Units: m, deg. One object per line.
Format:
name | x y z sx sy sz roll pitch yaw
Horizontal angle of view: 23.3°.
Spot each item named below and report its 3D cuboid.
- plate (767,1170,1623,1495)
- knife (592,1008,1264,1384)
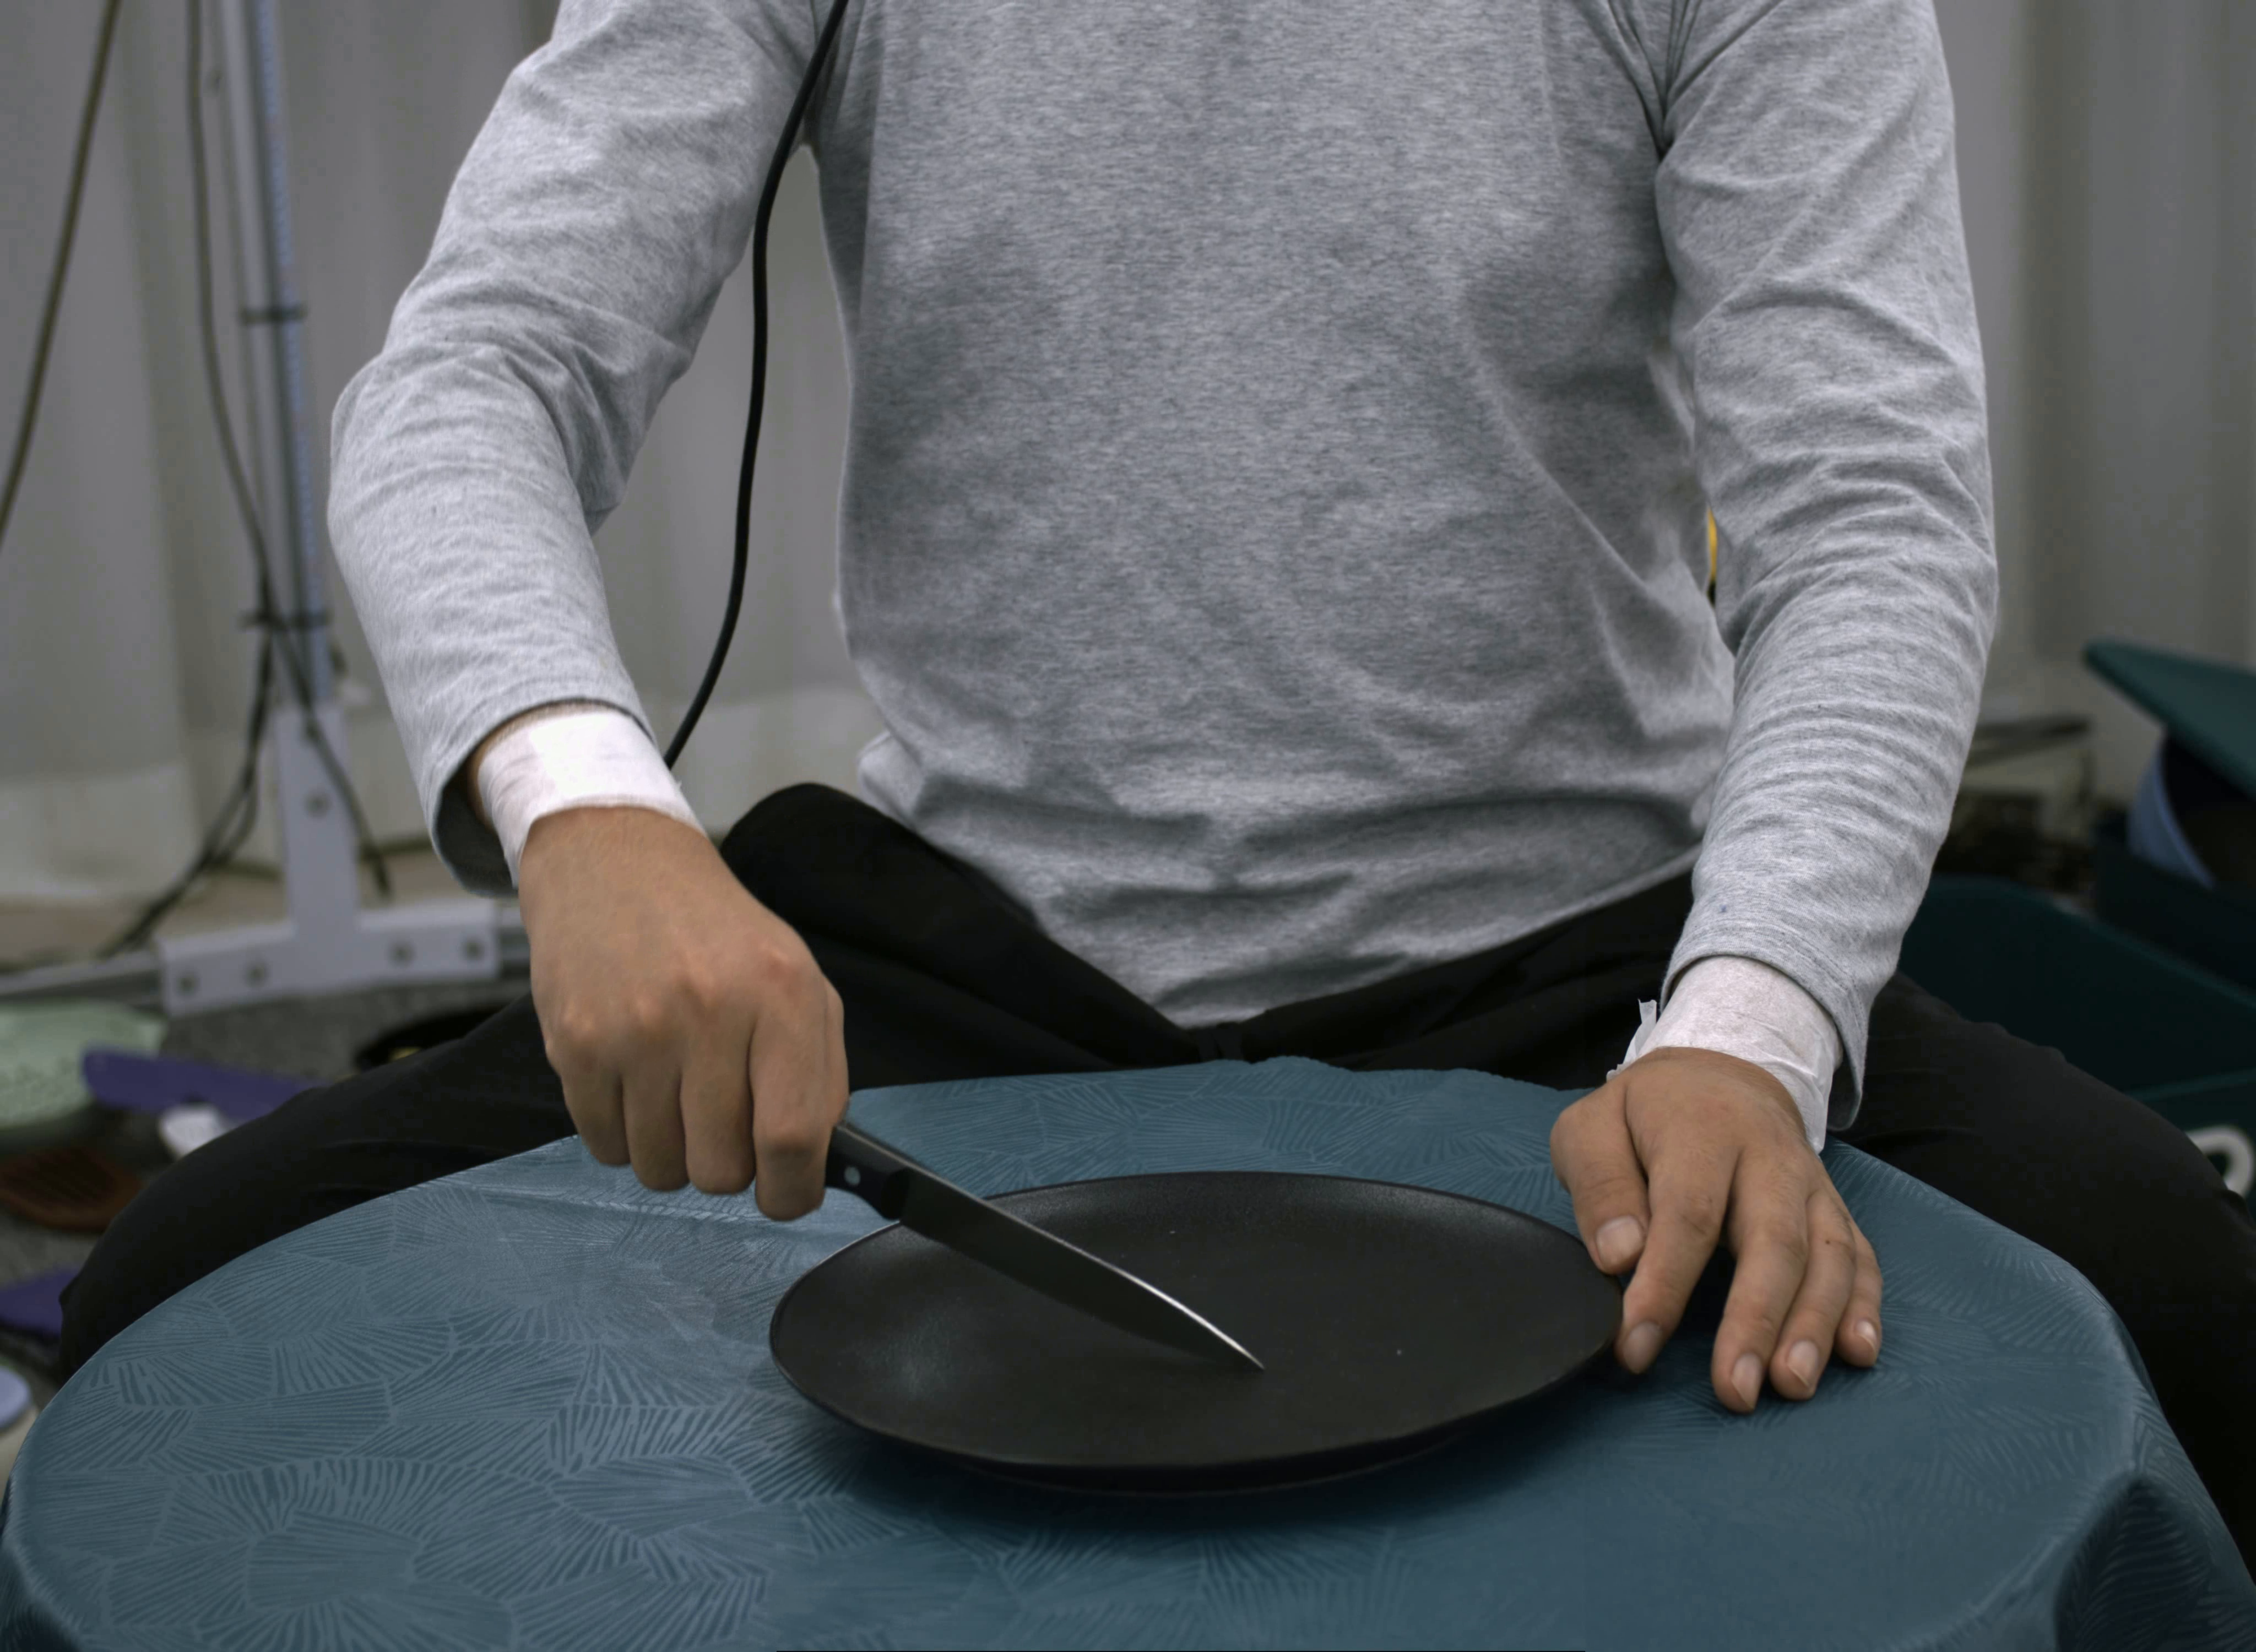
plate | 0.019 0.146 1.551 0.243 0.023 0.246 -3 15 0
knife | -0.059 0.106 1.581 0.239 0.024 0.016 26 34 25
